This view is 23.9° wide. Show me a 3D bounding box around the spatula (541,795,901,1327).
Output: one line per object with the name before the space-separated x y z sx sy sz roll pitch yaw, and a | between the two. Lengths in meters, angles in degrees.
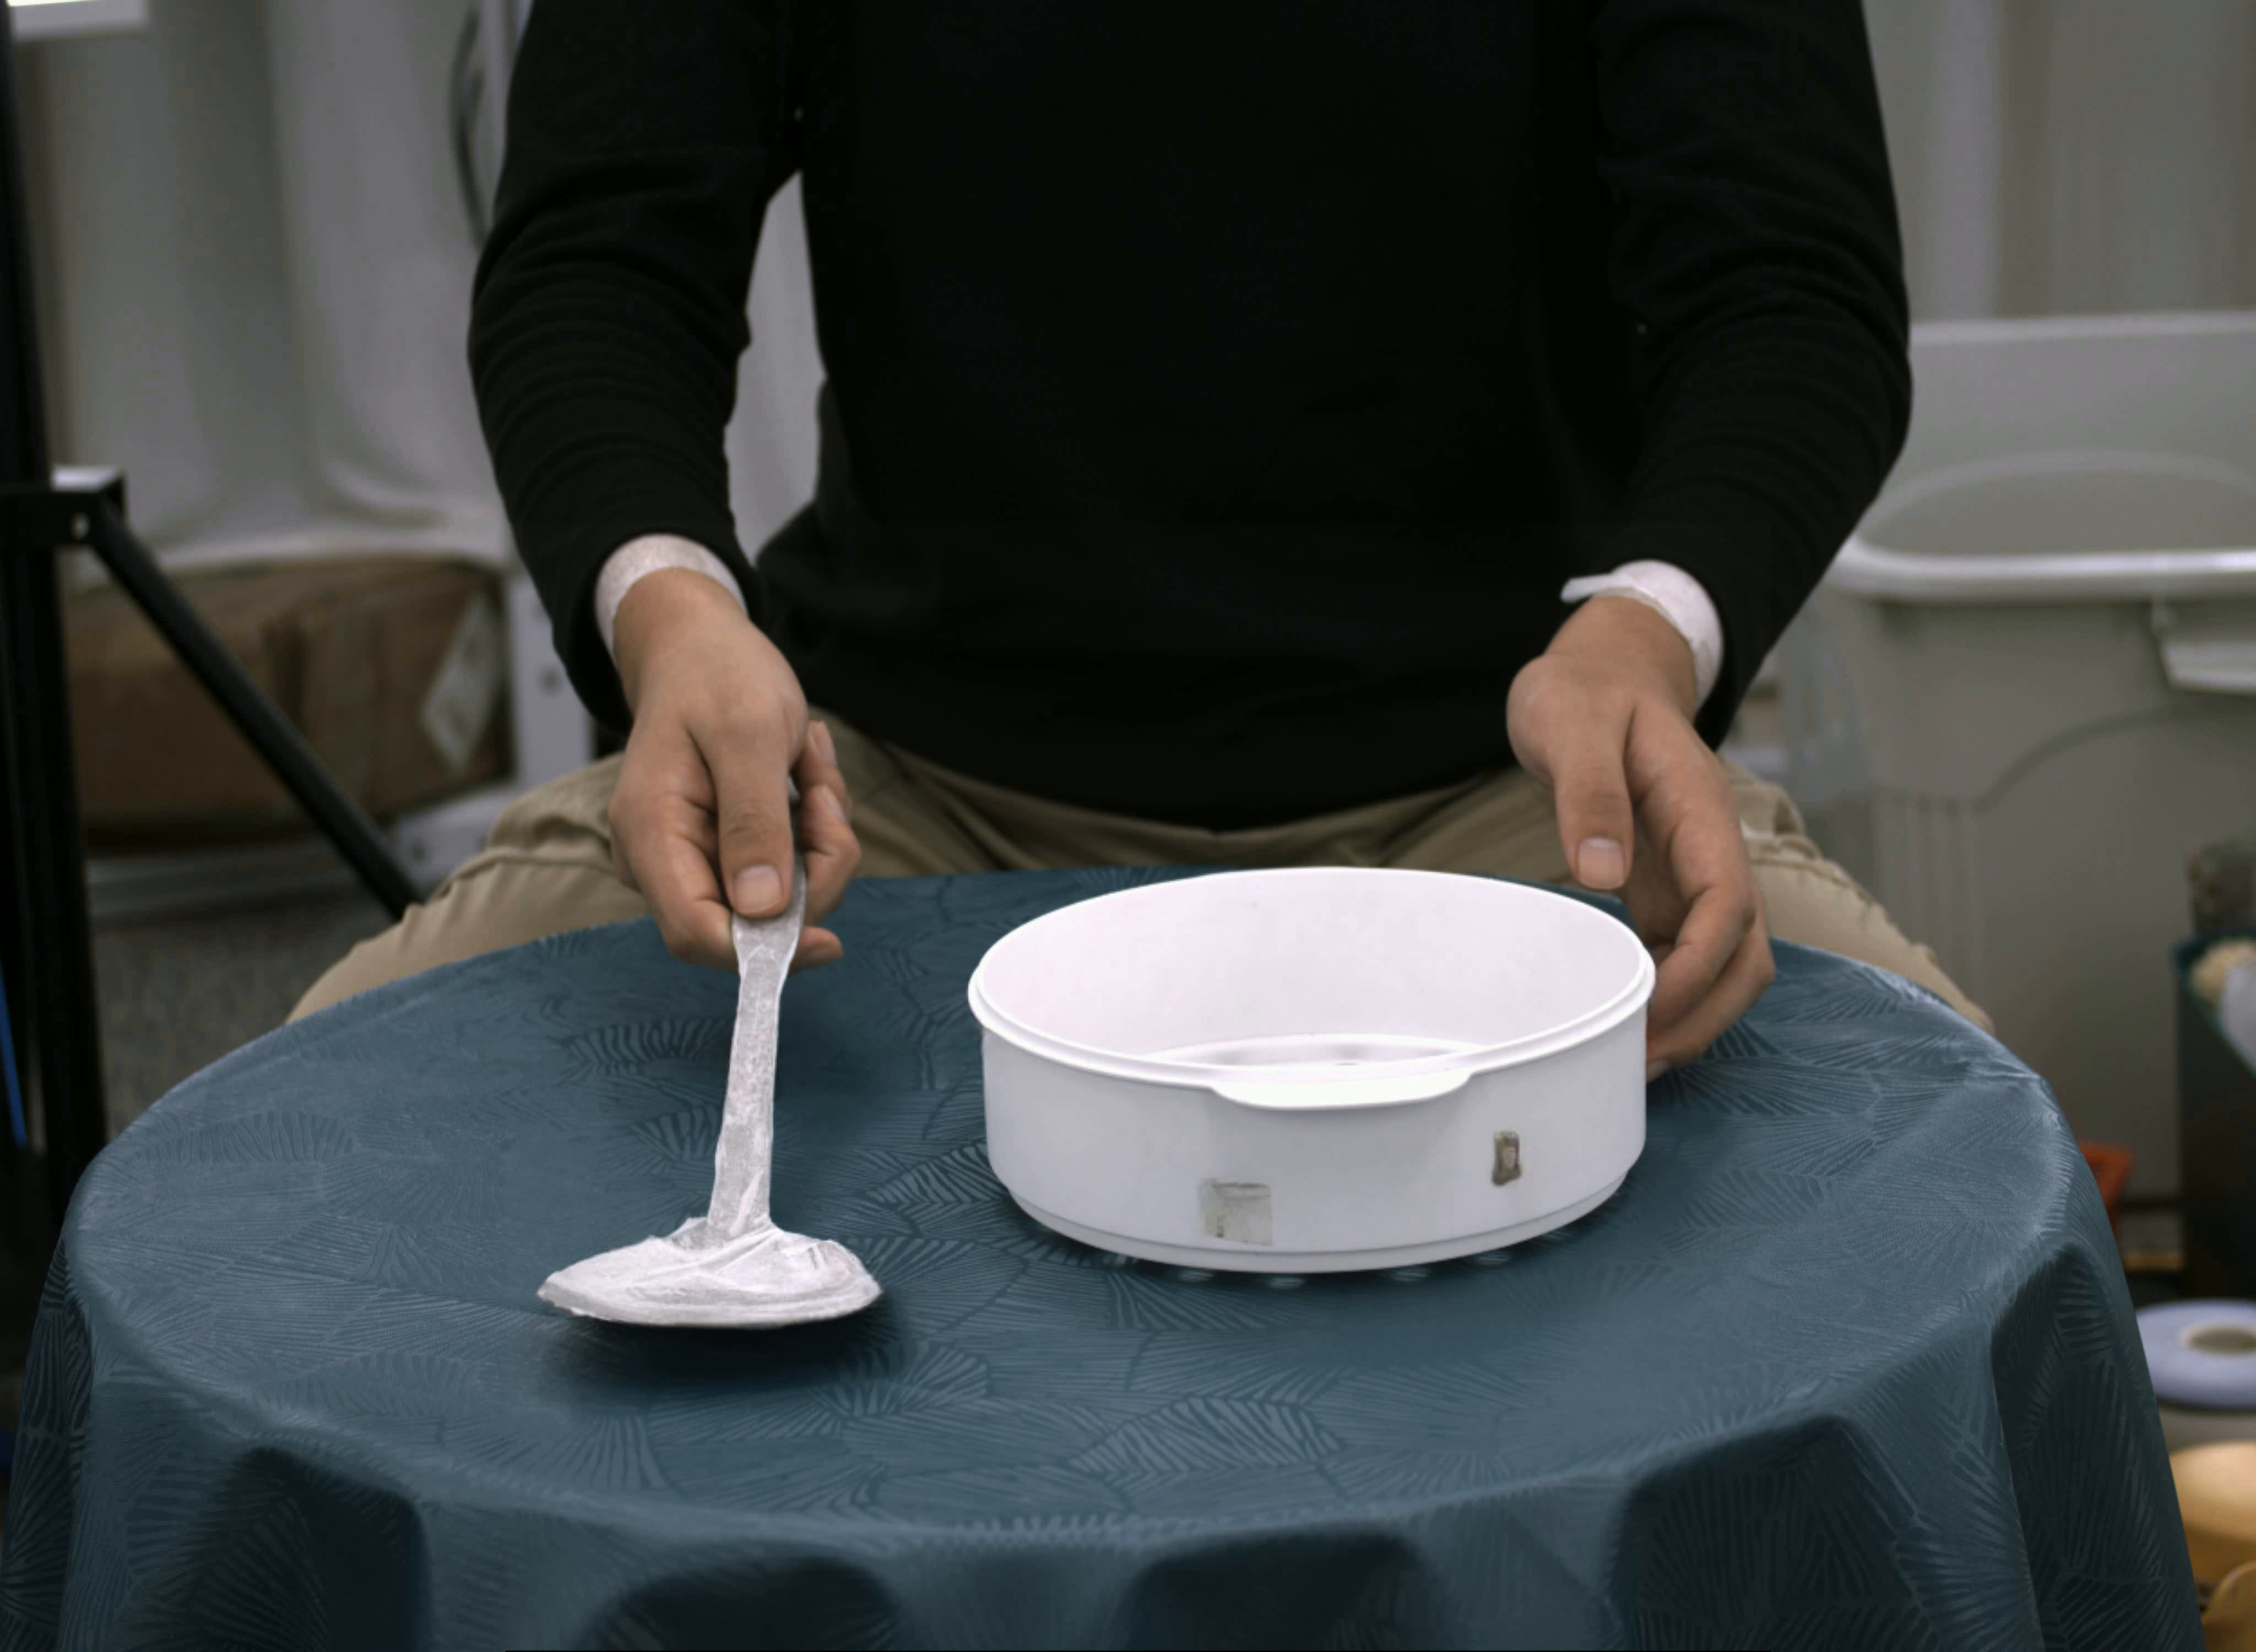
spatula | -0.108 0.061 1.584 0.098 0.044 0.367 -1 29 2

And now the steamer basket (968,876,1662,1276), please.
steamer basket | 0.055 0.072 1.547 0.201 0.069 0.232 -2 15 -1
